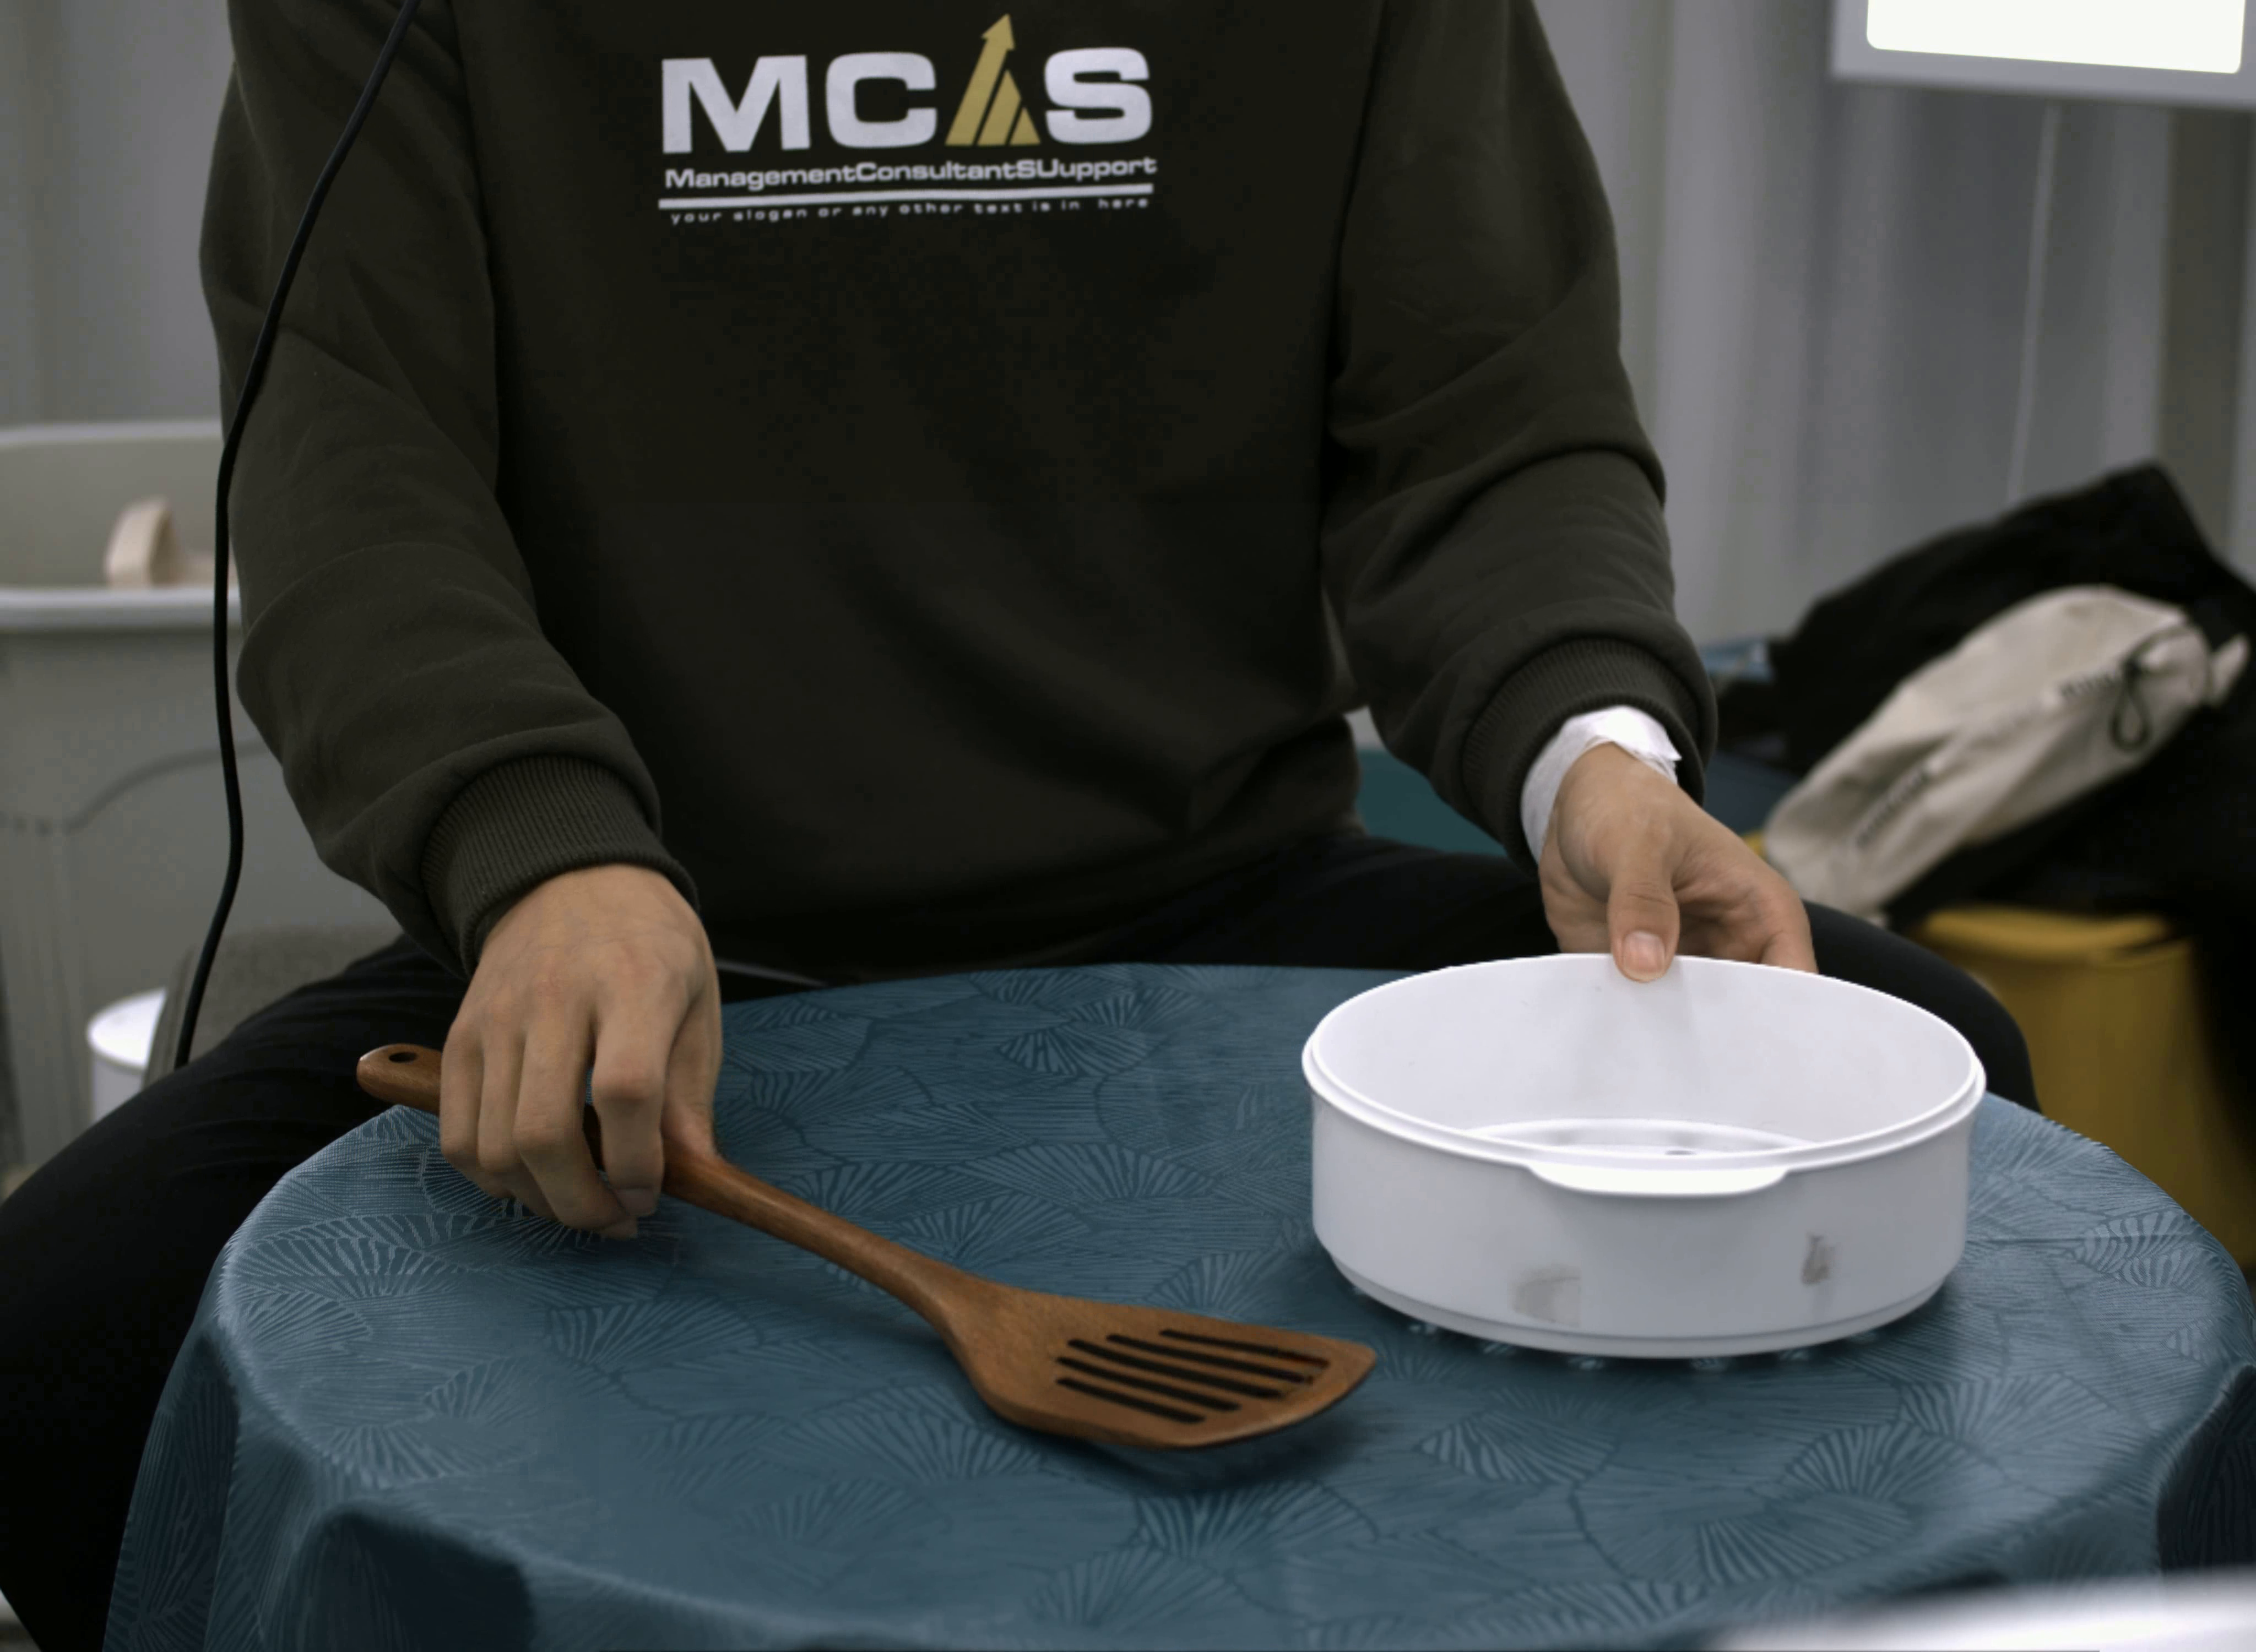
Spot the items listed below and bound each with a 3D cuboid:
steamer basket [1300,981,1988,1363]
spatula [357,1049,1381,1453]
[{"bbox_3d":[0.150,0.101,1.553,0.201,0.070,0.229,3,12,1],"label":"steamer basket"},{"bbox_3d":[-0.094,0.120,1.524,0.380,0.024,0.086,18,24,38],"label":"spatula"}]
